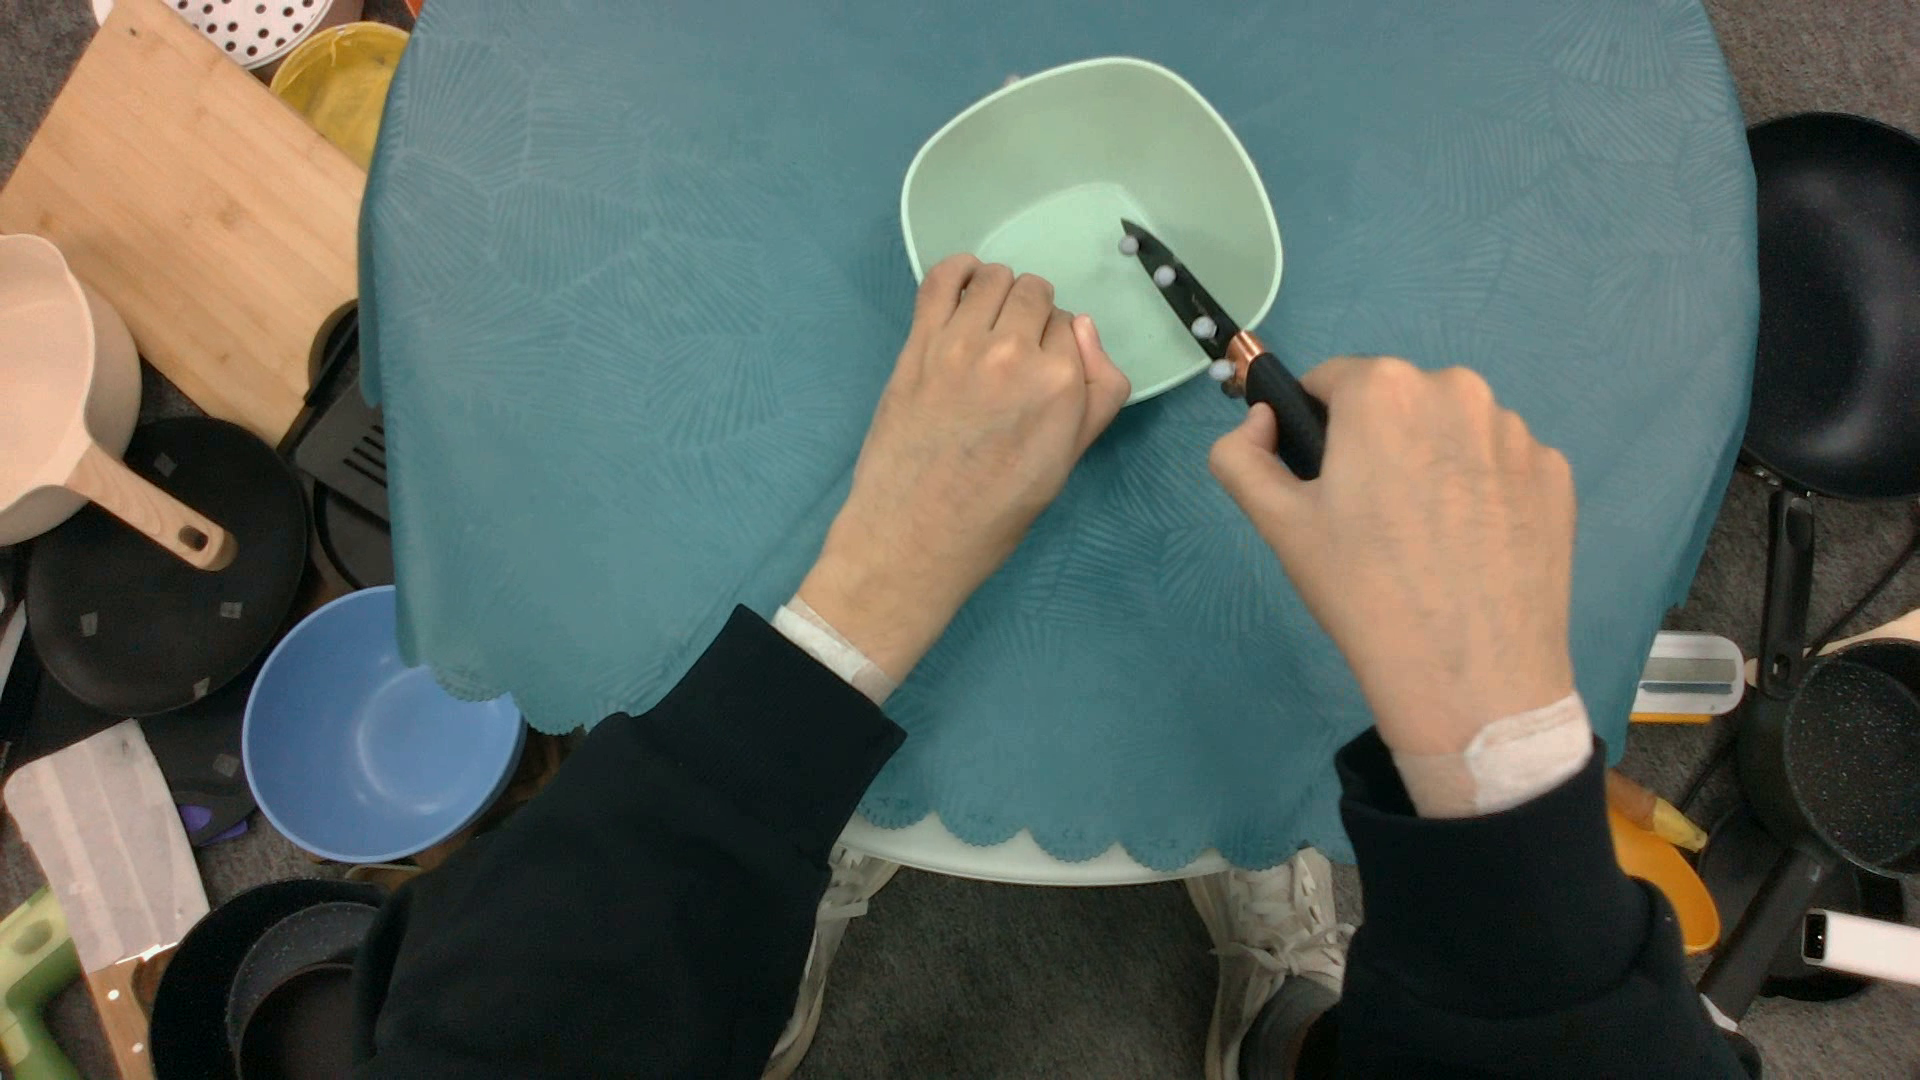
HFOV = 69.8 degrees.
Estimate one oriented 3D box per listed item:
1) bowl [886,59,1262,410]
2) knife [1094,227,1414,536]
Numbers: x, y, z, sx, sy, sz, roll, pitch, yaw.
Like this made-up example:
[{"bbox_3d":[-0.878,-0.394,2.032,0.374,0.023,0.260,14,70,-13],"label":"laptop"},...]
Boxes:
[{"bbox_3d":[0.044,-0.116,0.564,0.151,0.058,0.152,1,77,-2],"label":"bowl"},{"bbox_3d":[0.096,-0.071,0.500,0.017,0.026,0.226,-13,40,-14],"label":"knife"}]
